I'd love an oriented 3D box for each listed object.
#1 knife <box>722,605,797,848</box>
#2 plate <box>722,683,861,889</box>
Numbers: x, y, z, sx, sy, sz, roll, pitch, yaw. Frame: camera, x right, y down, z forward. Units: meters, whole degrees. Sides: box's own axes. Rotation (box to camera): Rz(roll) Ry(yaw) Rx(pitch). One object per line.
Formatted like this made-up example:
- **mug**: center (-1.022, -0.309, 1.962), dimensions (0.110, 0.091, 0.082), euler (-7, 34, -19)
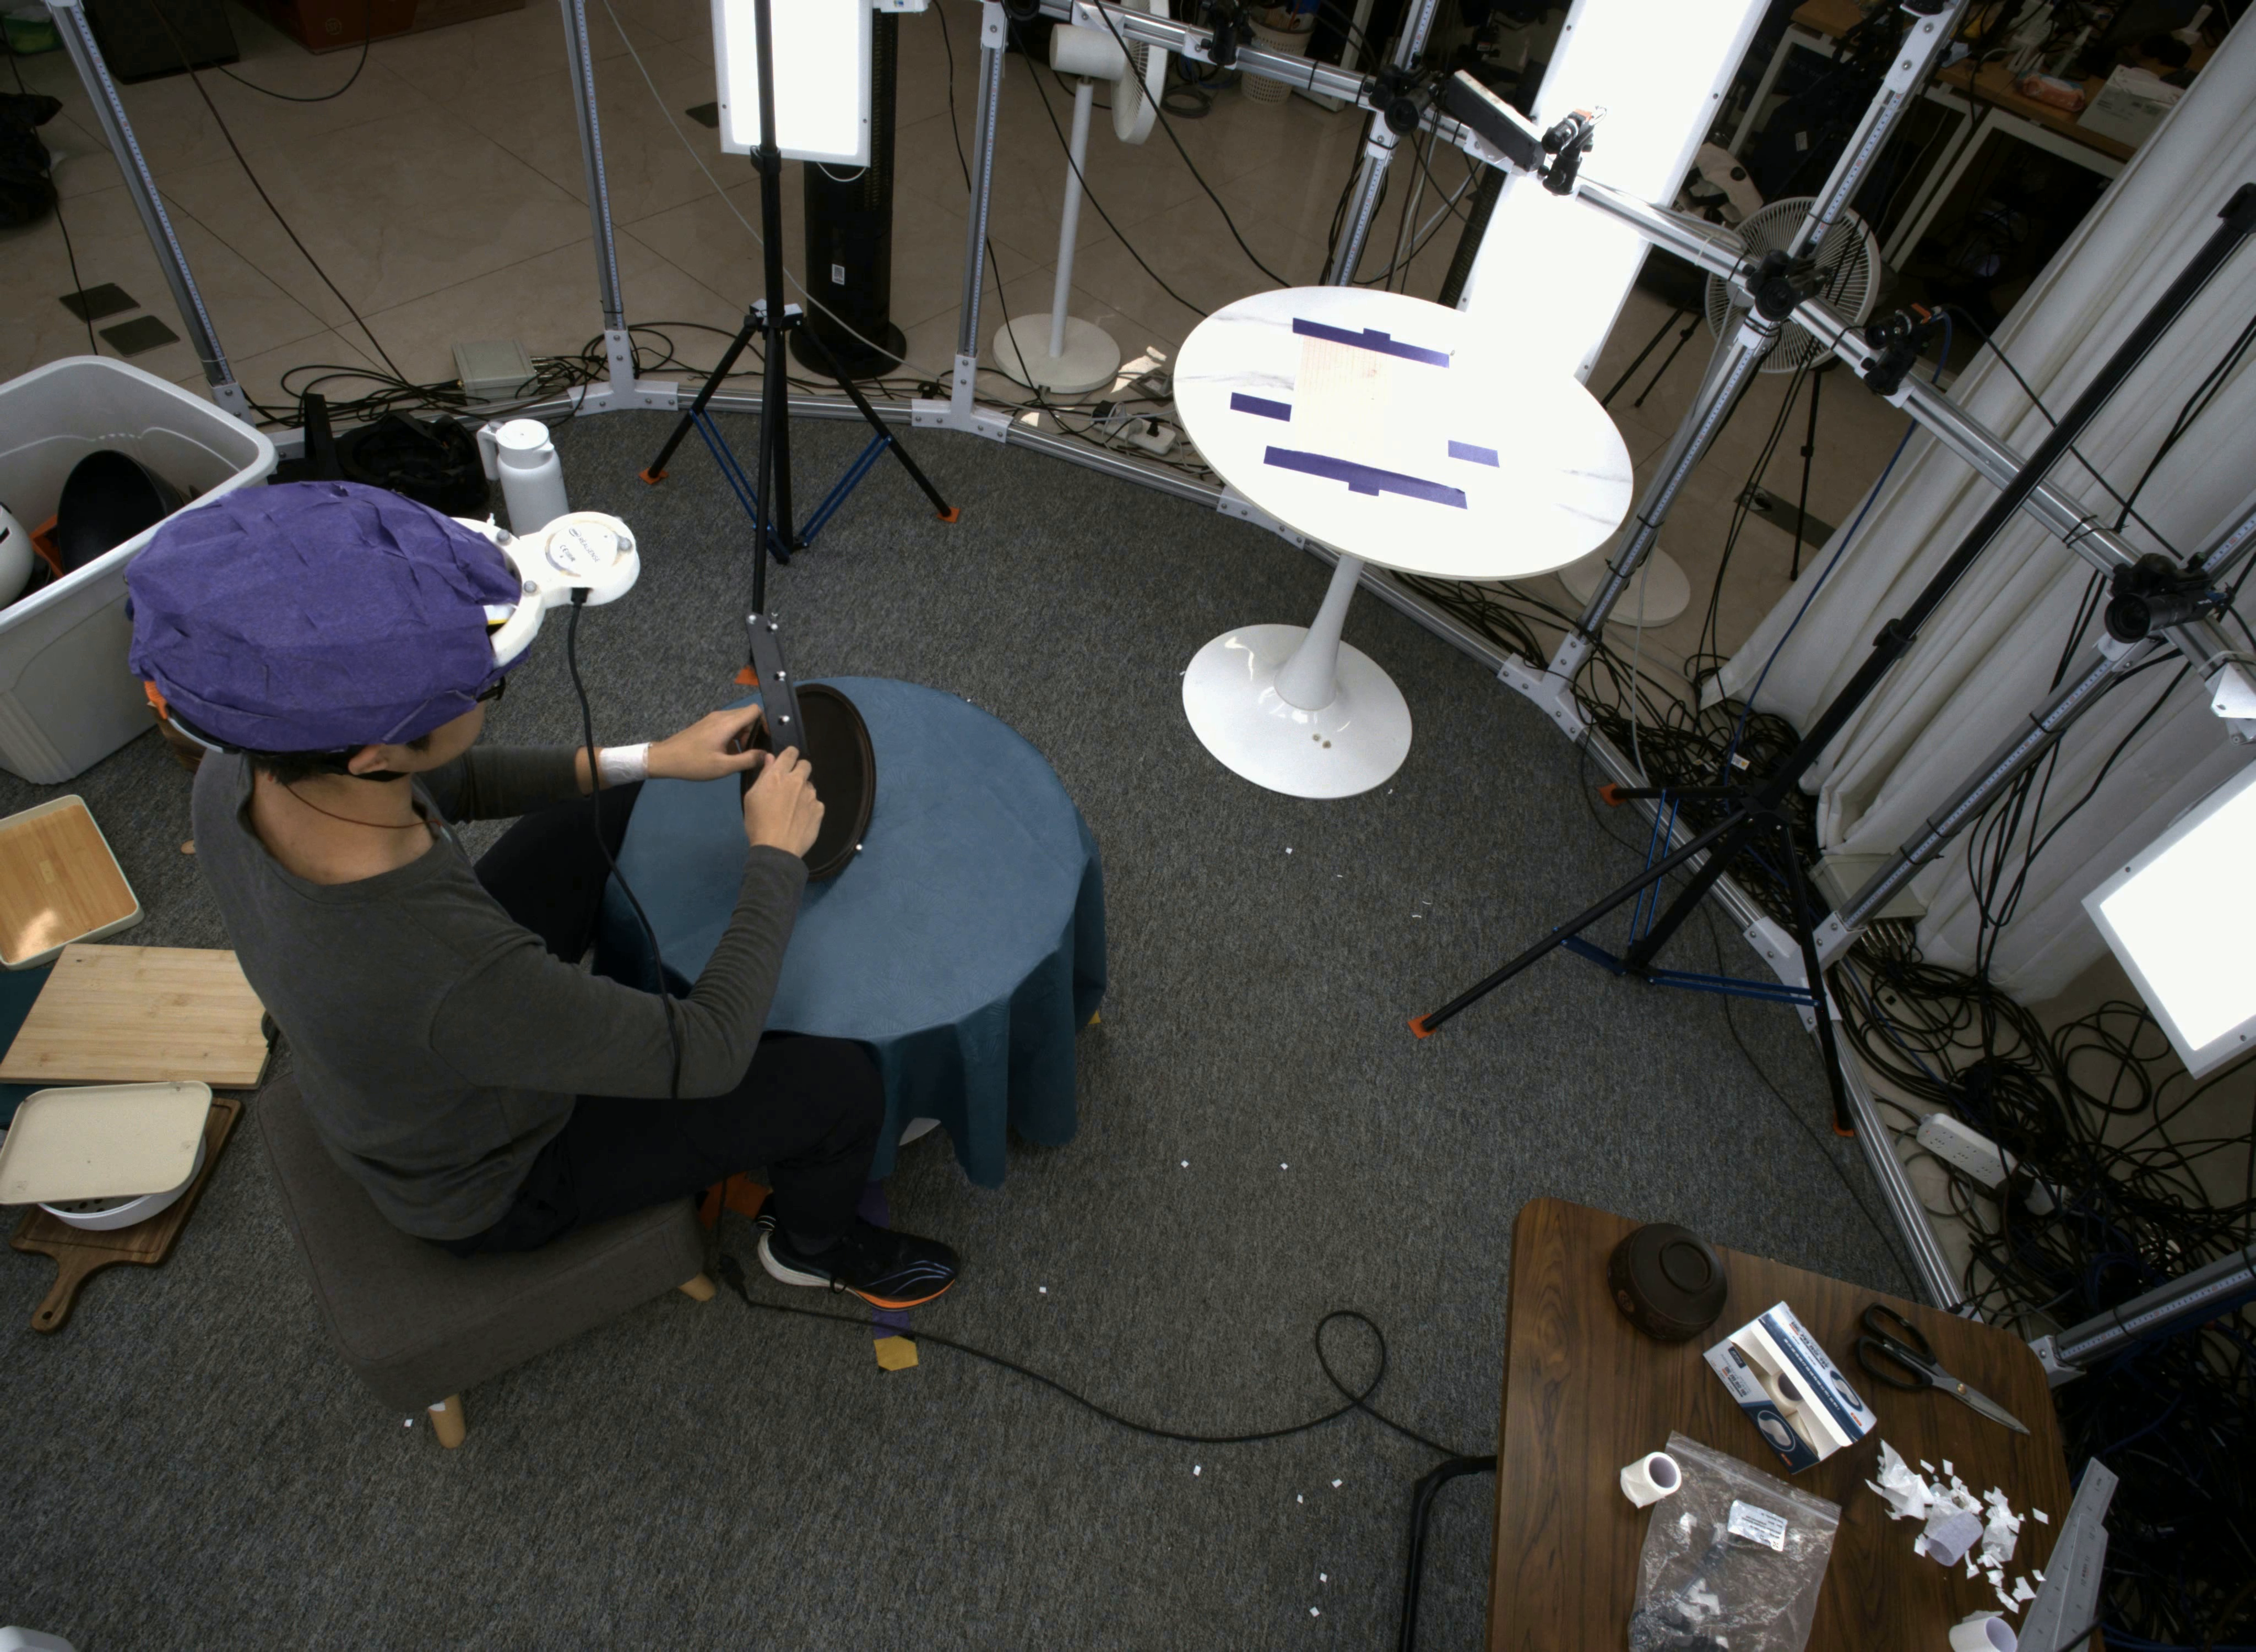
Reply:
- **knife**: center (-0.430, -0.120, 1.527), dimensions (0.020, 0.083, 0.300), euler (-21, 75, 22)
- **plate**: center (-0.421, -0.051, 1.633), dimensions (0.028, 0.265, 0.252), euler (4, 47, 24)
